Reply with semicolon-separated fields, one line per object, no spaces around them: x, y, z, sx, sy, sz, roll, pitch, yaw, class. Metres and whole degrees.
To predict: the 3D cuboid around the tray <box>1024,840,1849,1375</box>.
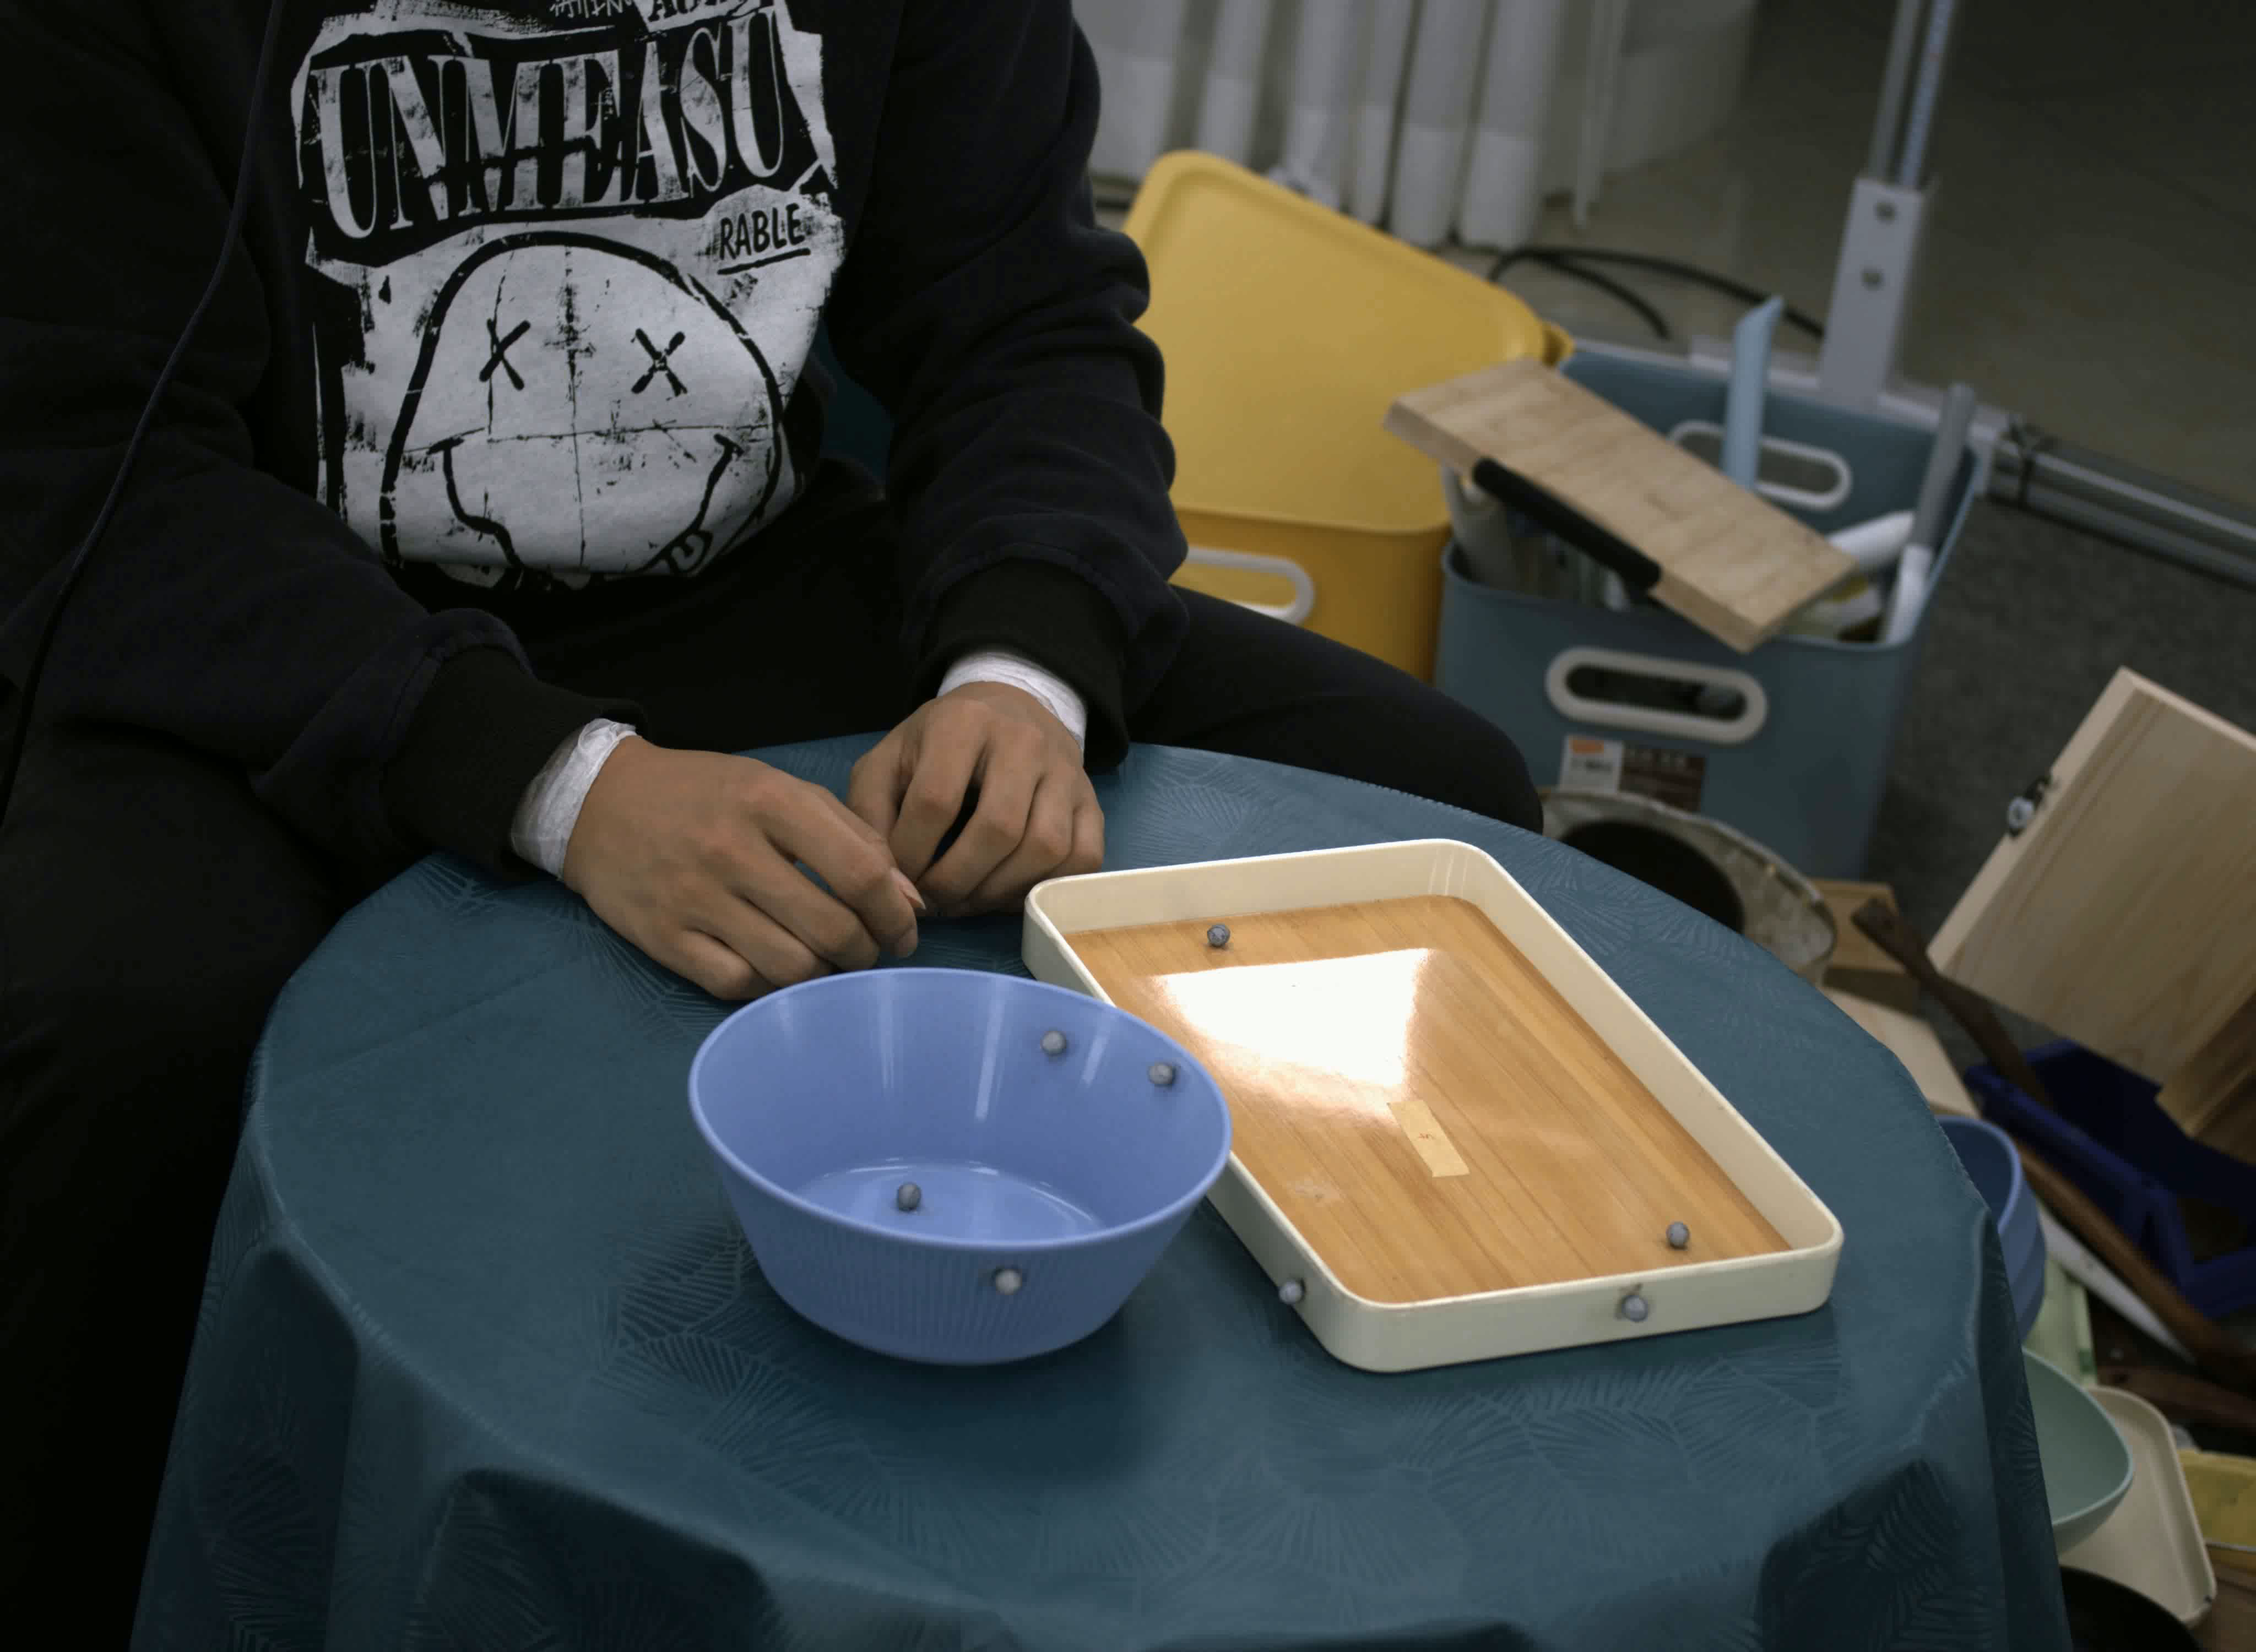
0.101;0.092;1.857;0.190;0.027;0.303;-6;29;-22;tray

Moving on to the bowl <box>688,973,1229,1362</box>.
-0.058;0.116;1.722;0.175;0.070;0.177;6;26;-3;bowl
